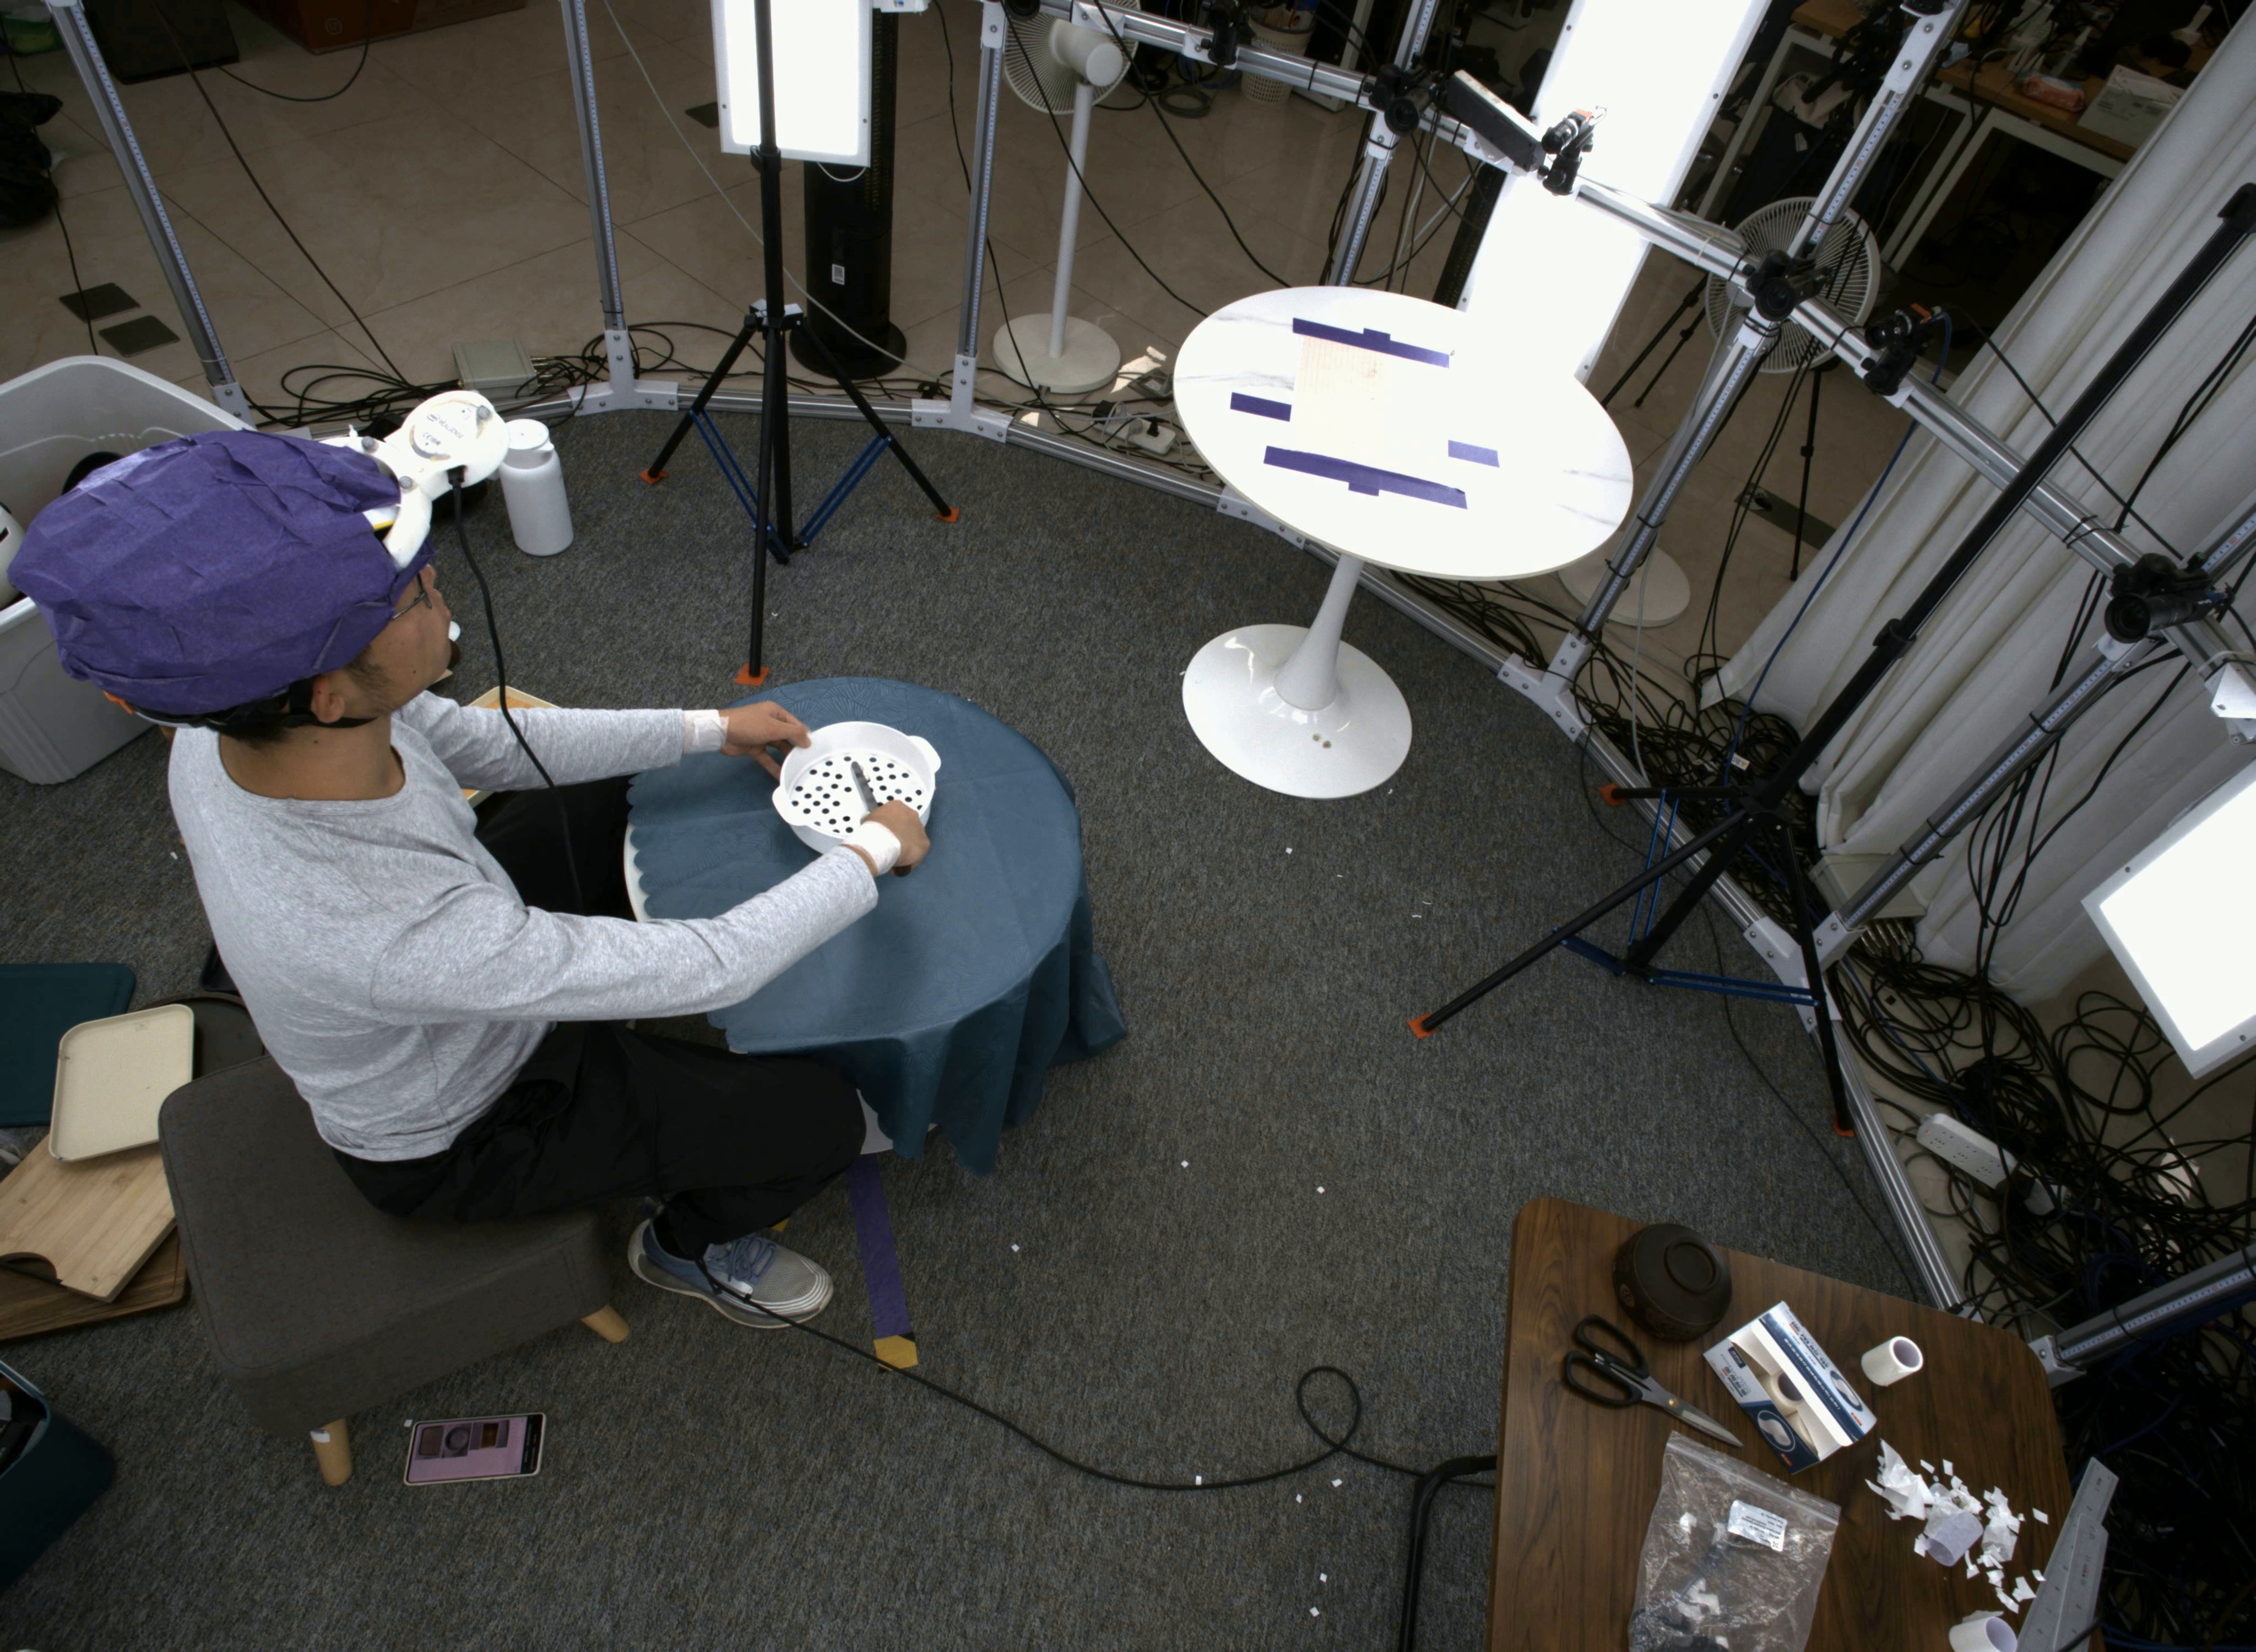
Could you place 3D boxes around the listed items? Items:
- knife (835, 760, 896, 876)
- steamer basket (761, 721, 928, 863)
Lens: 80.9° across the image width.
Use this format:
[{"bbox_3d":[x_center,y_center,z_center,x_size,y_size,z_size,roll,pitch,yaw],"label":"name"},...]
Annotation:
[{"bbox_3d":[-0.341,-0.016,1.655,0.020,0.051,0.279,-6,31,-24],"label":"knife"},{"bbox_3d":[-0.376,-0.045,1.738,0.231,0.071,0.197,-27,63,-28],"label":"steamer basket"}]
